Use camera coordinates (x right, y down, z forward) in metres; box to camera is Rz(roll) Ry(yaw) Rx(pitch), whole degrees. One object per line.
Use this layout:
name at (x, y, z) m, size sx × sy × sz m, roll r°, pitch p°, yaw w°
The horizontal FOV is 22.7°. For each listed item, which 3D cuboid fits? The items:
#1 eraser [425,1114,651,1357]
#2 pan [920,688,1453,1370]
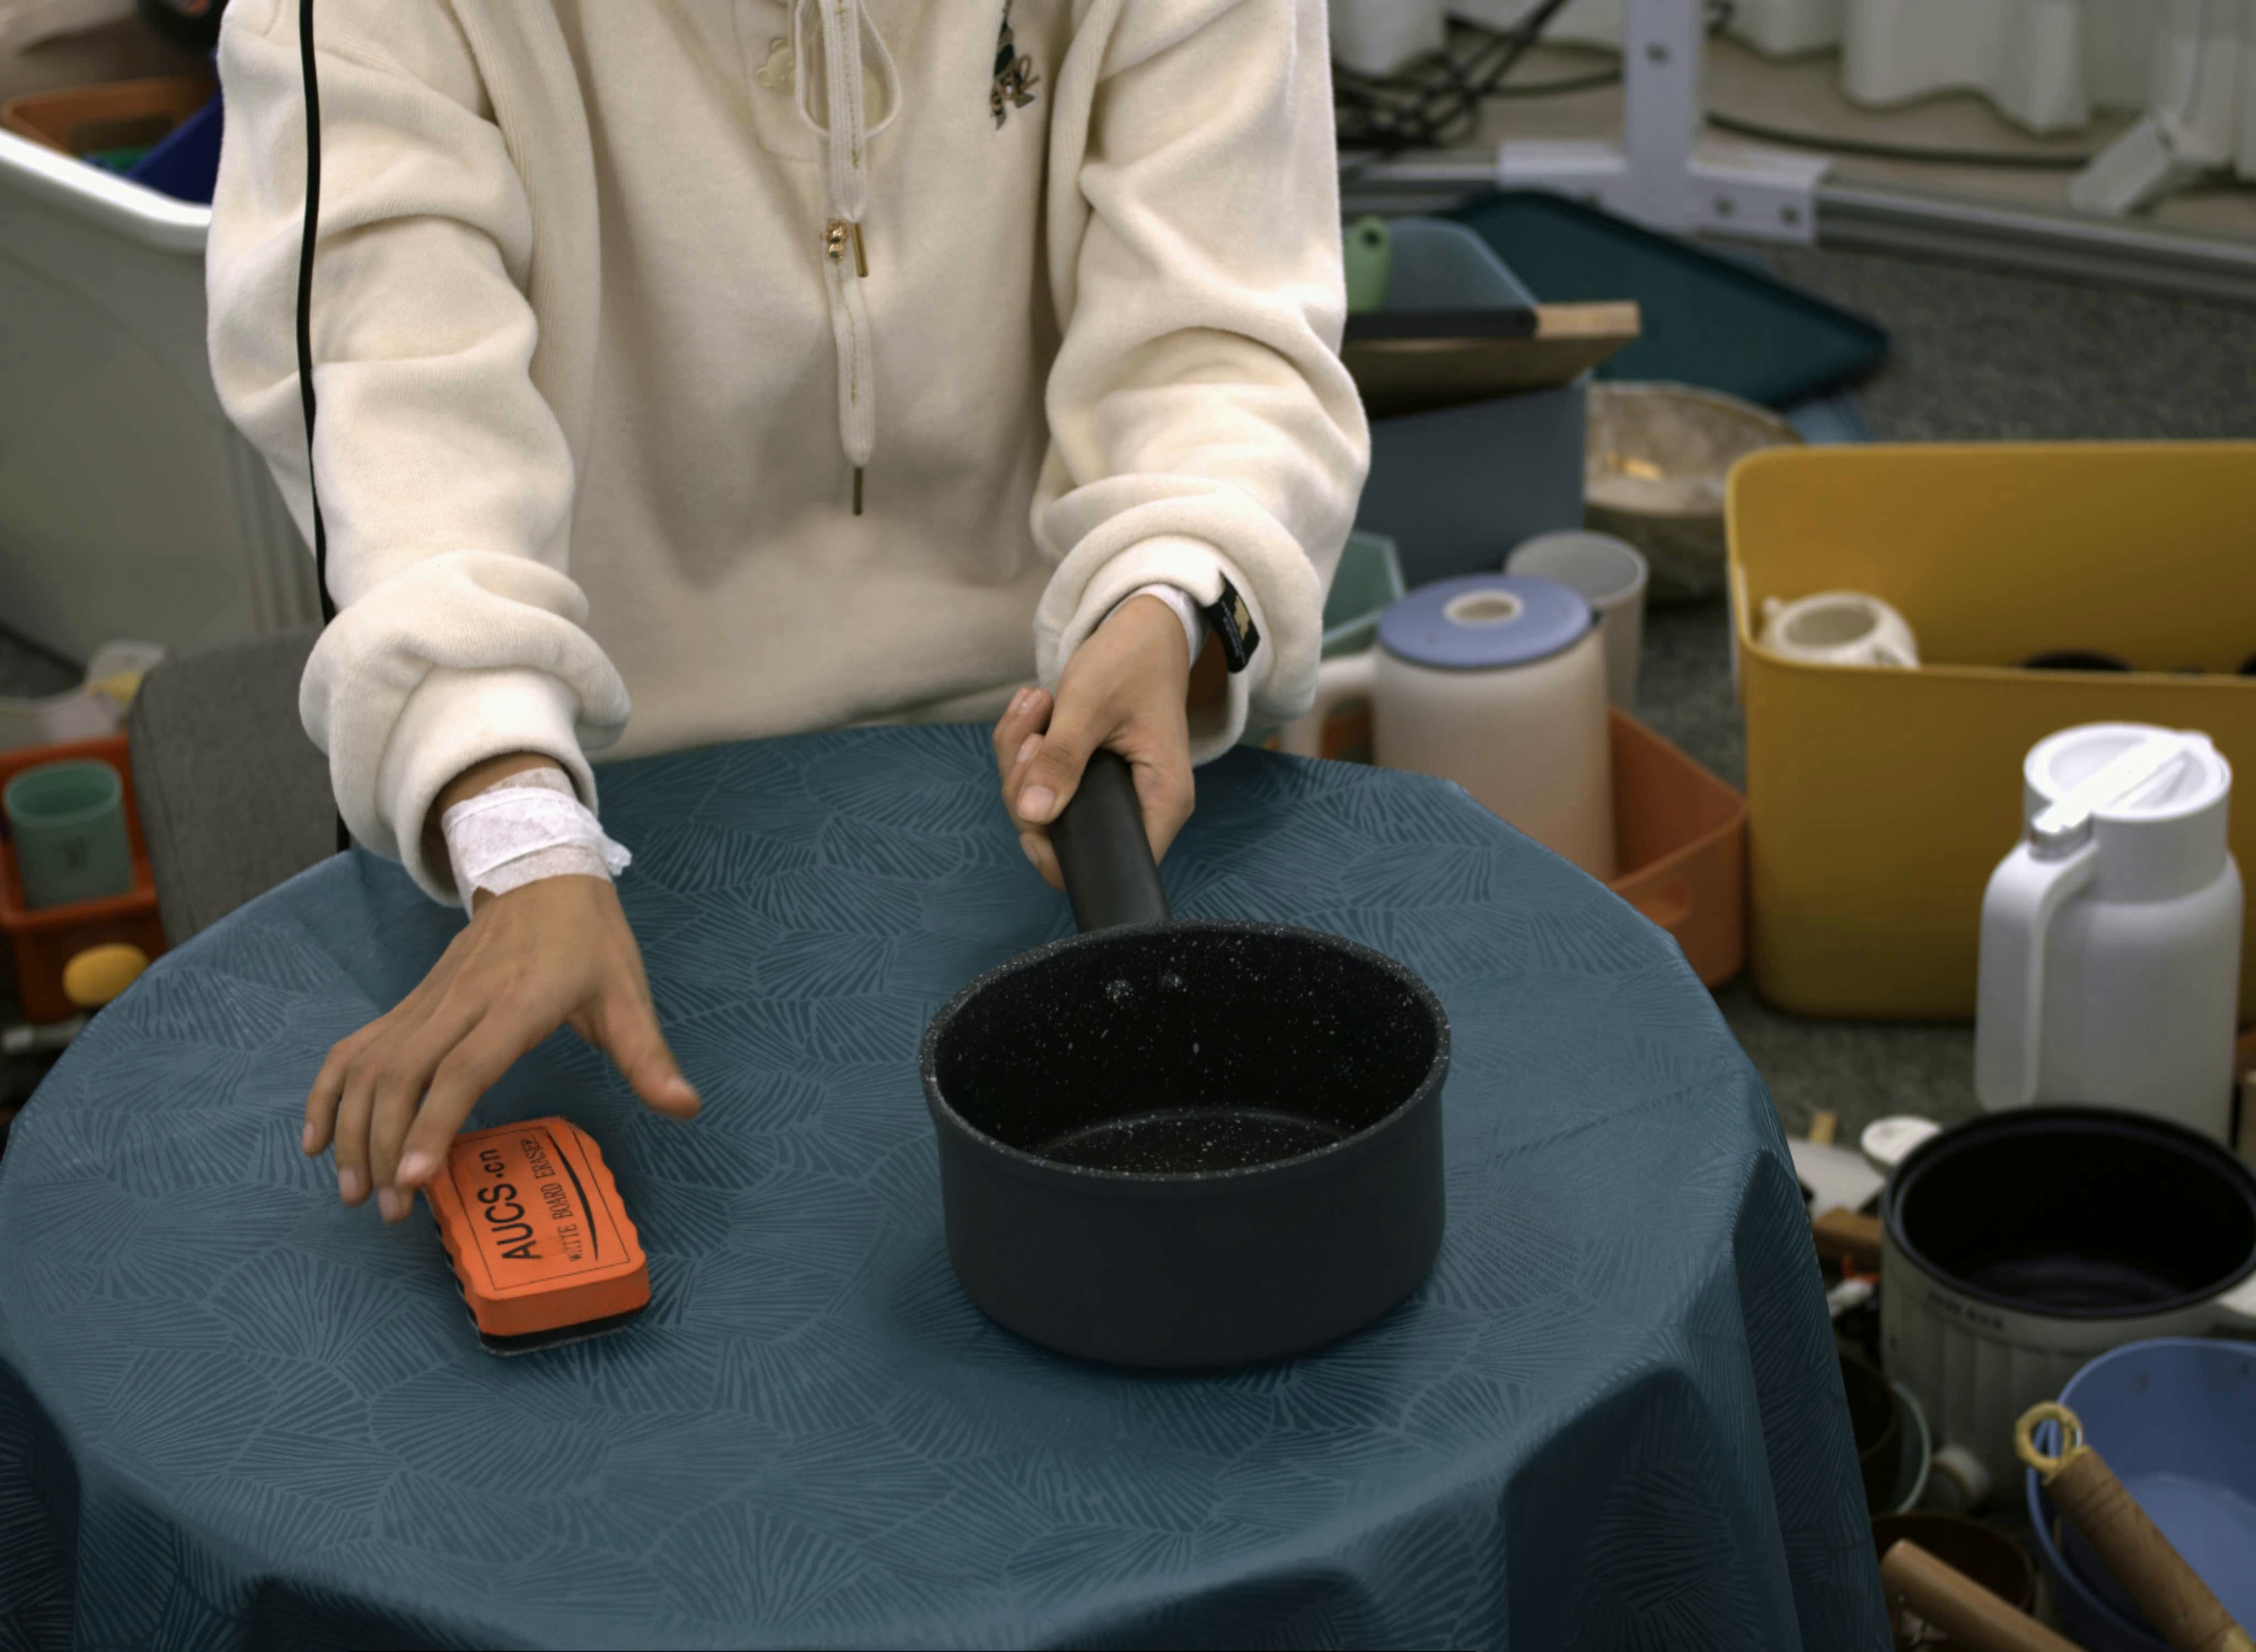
eraser at (-0.193, 0.133, 1.833) m, size 0.059 × 0.022 × 0.109 m, roll -11°, pitch 28°, yaw -12°
pan at (0.010, 0.064, 1.881) m, size 0.171 × 0.085 × 0.333 m, roll -6°, pitch 28°, yaw -5°
